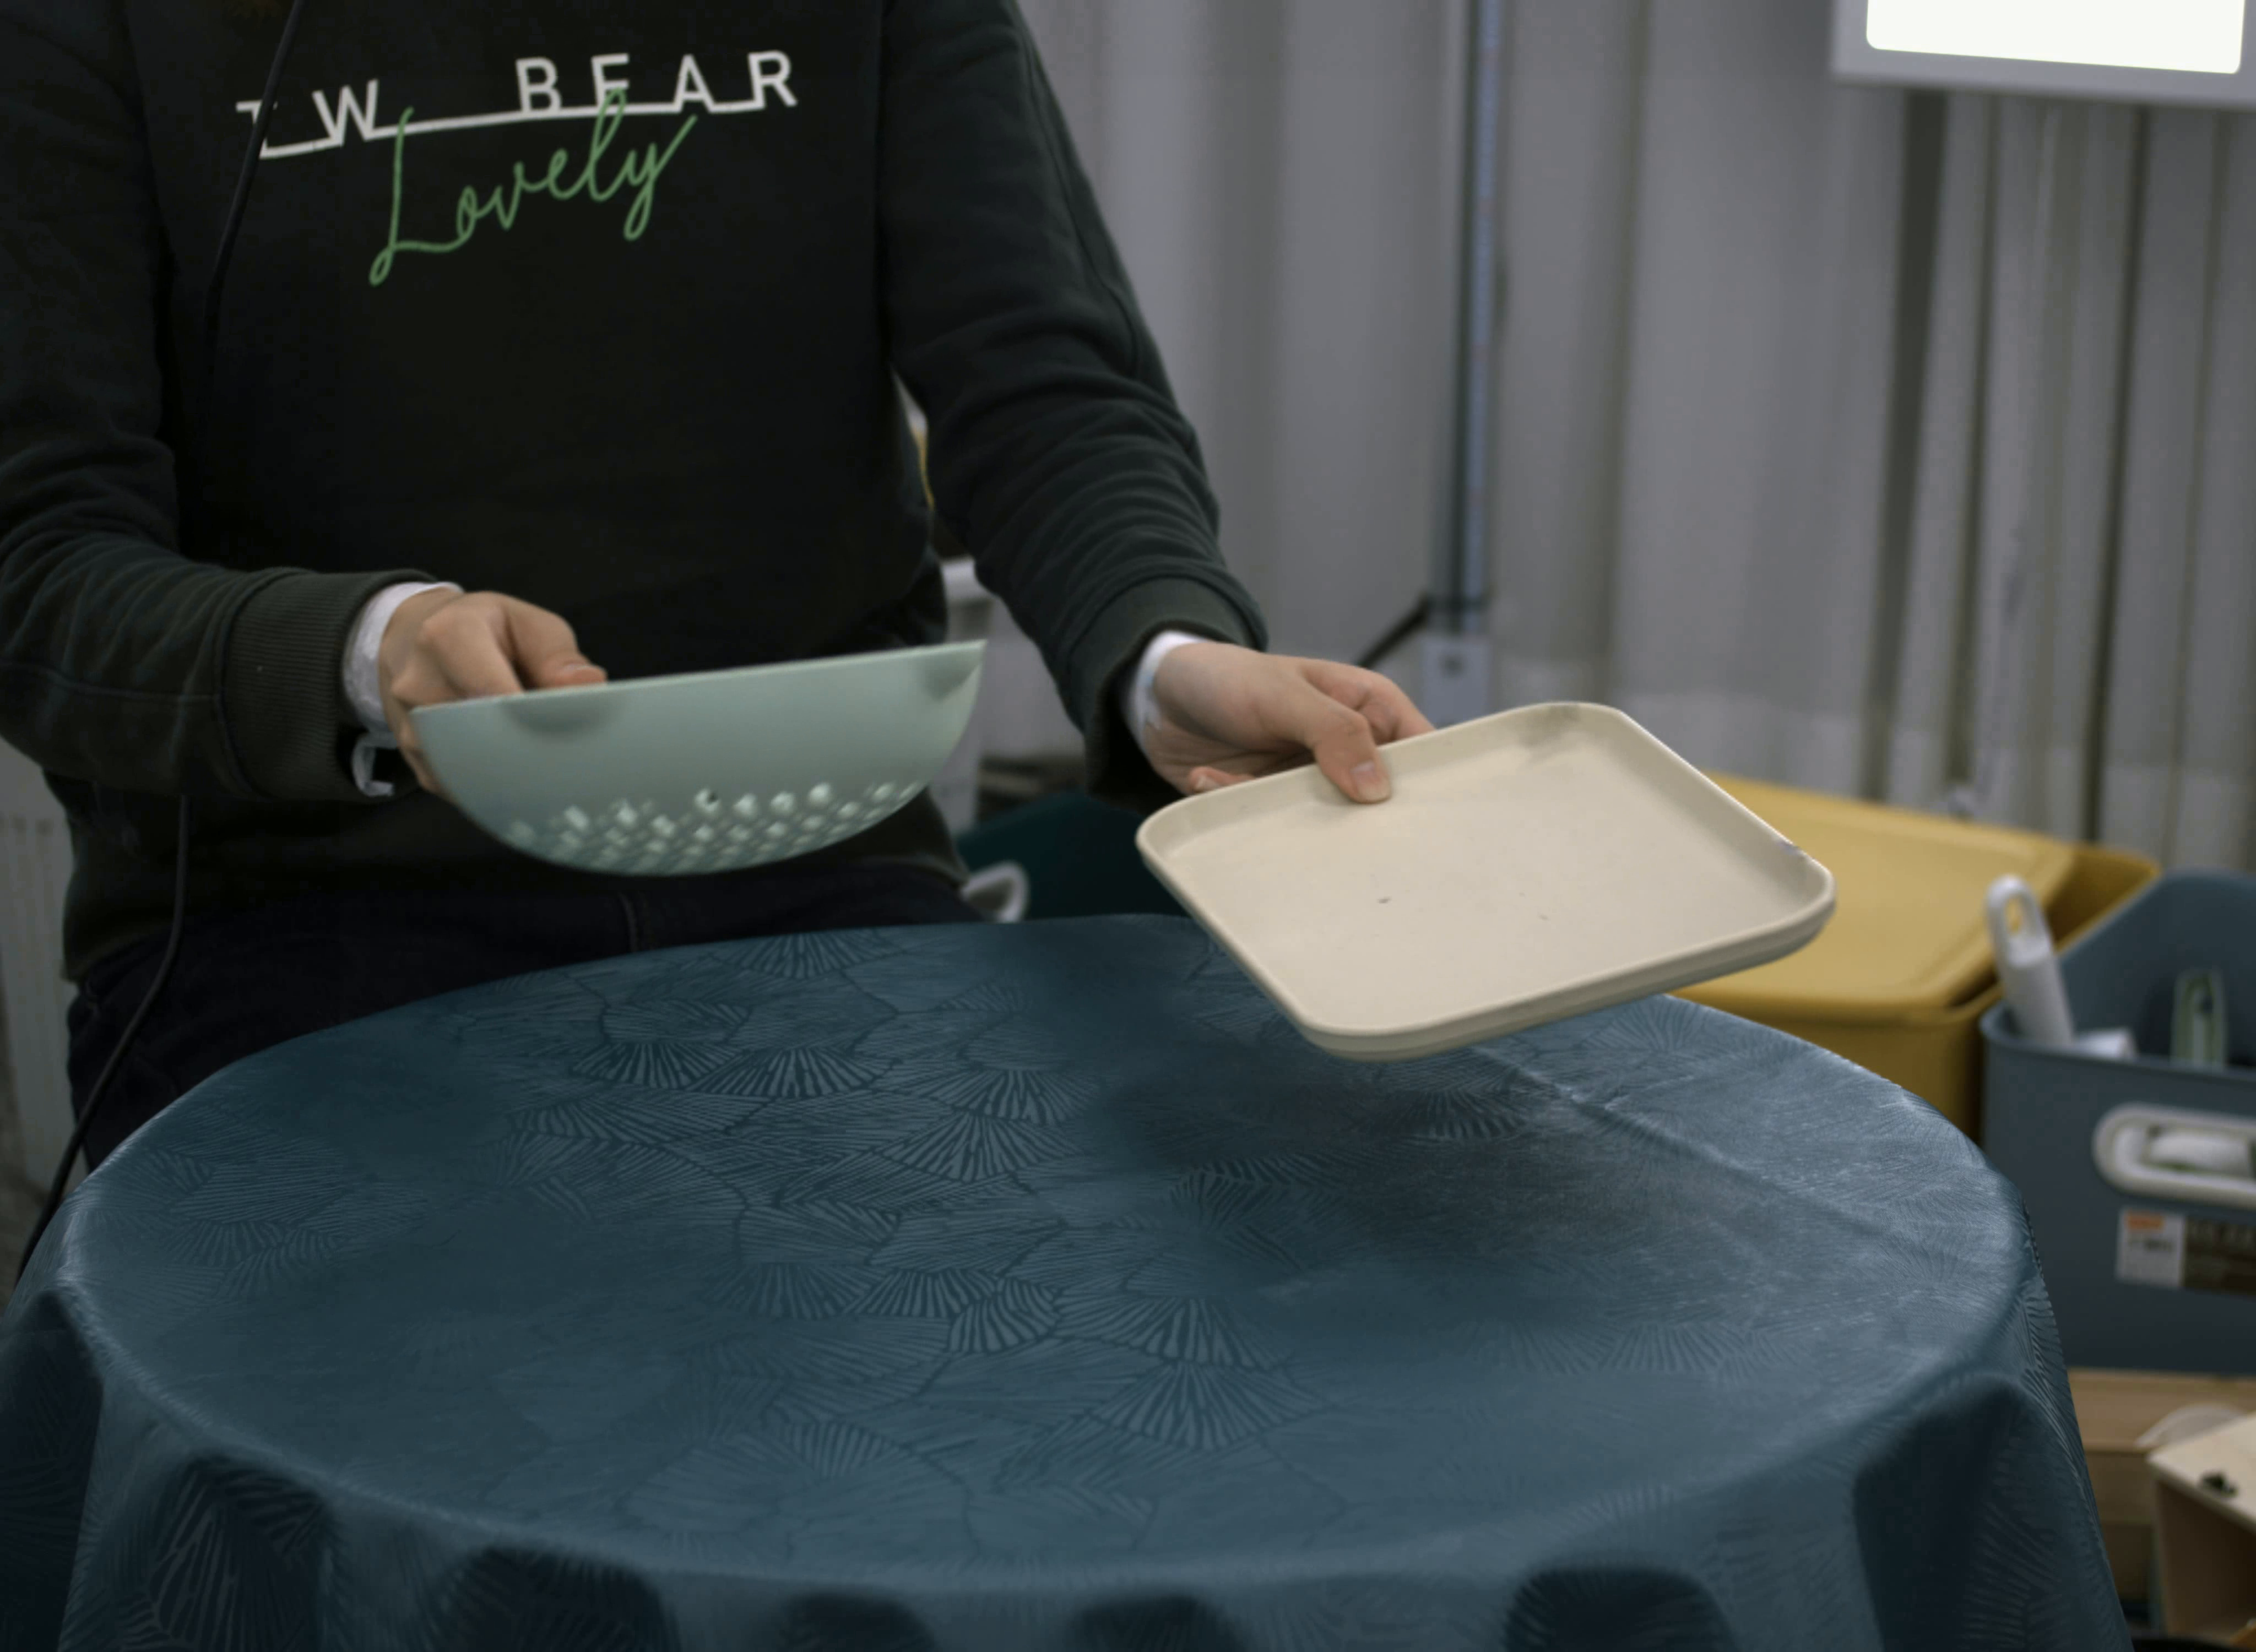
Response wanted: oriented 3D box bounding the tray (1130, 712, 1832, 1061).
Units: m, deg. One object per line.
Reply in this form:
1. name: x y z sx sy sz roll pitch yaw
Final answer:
1. tray: 0.106 0.017 1.644 0.171 0.017 0.237 -15 19 -12

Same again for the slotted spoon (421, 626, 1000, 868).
1. slotted spoon: -0.155 -0.031 1.632 0.170 0.076 0.355 -7 8 -21
